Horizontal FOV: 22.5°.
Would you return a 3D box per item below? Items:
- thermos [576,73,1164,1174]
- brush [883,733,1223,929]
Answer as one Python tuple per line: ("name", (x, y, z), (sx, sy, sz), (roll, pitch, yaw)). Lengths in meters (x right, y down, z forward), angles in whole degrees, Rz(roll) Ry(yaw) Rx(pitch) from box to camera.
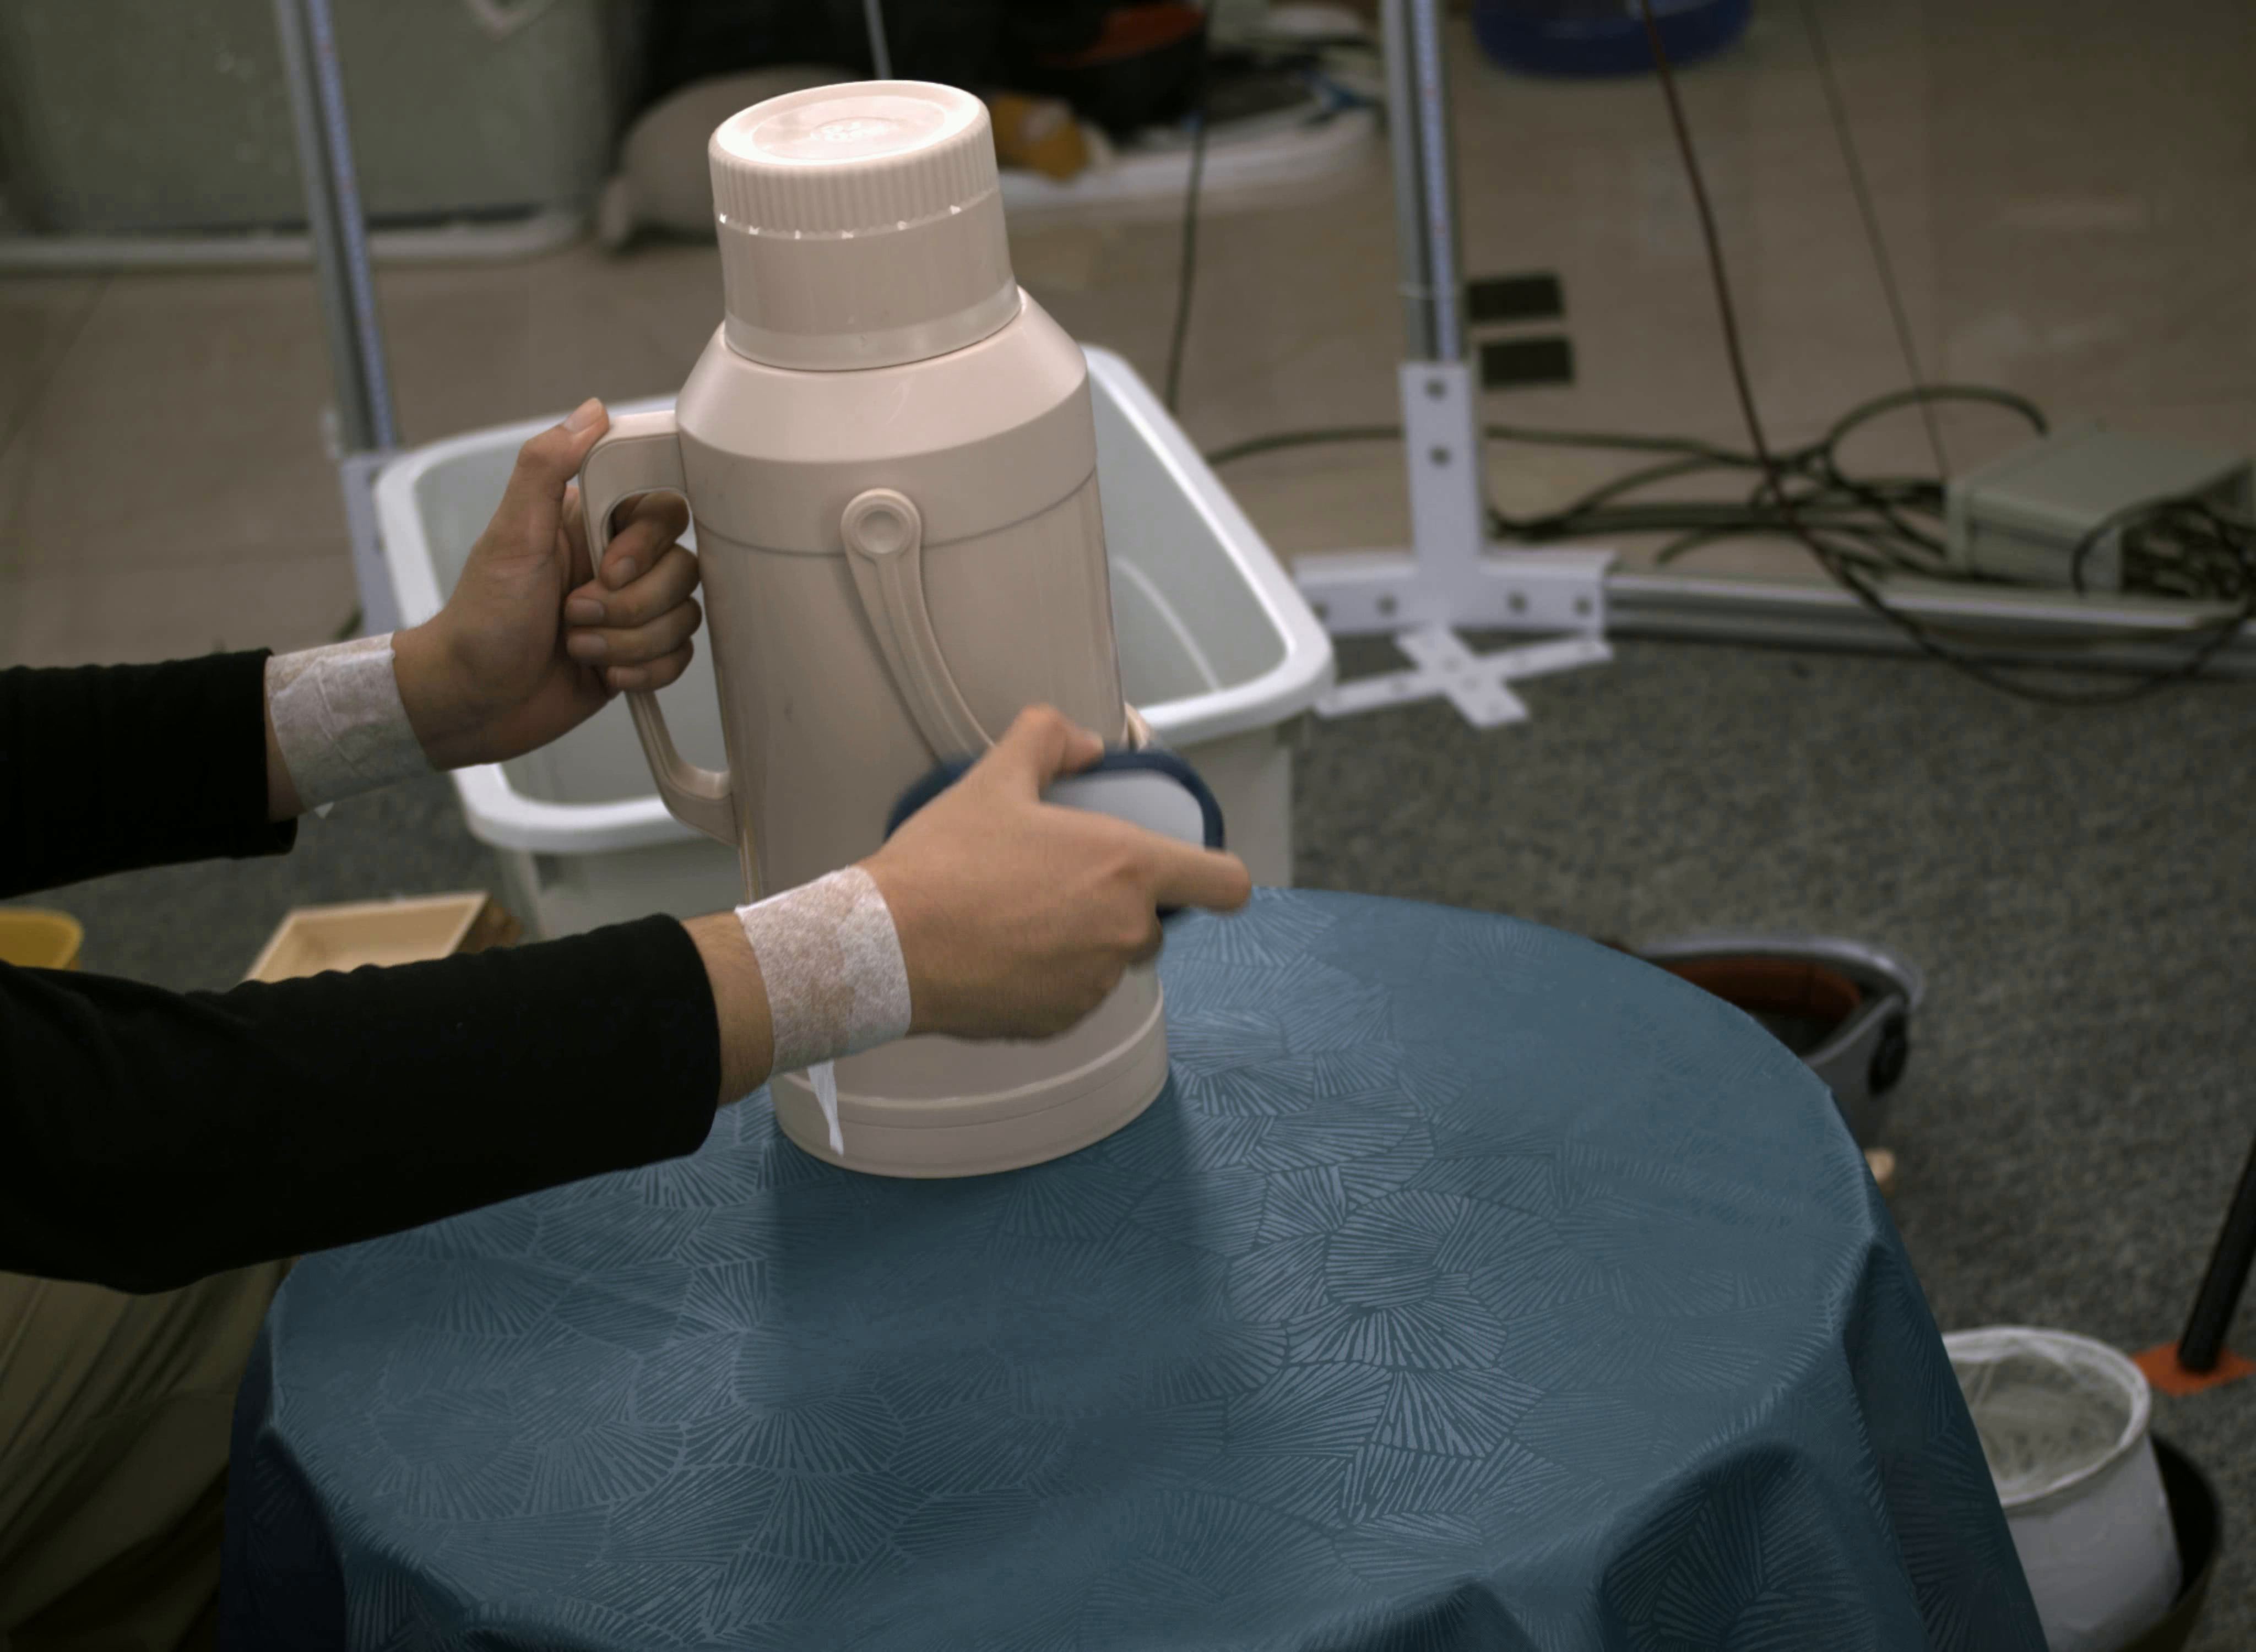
("thermos", (-0.097, -0.077, 2.158), (0.207, 0.413, 0.172), (-5, 27, 1))
("brush", (-0.026, 0.002, 1.998), (0.121, 0.068, 0.061), (-2, 2, -9))
